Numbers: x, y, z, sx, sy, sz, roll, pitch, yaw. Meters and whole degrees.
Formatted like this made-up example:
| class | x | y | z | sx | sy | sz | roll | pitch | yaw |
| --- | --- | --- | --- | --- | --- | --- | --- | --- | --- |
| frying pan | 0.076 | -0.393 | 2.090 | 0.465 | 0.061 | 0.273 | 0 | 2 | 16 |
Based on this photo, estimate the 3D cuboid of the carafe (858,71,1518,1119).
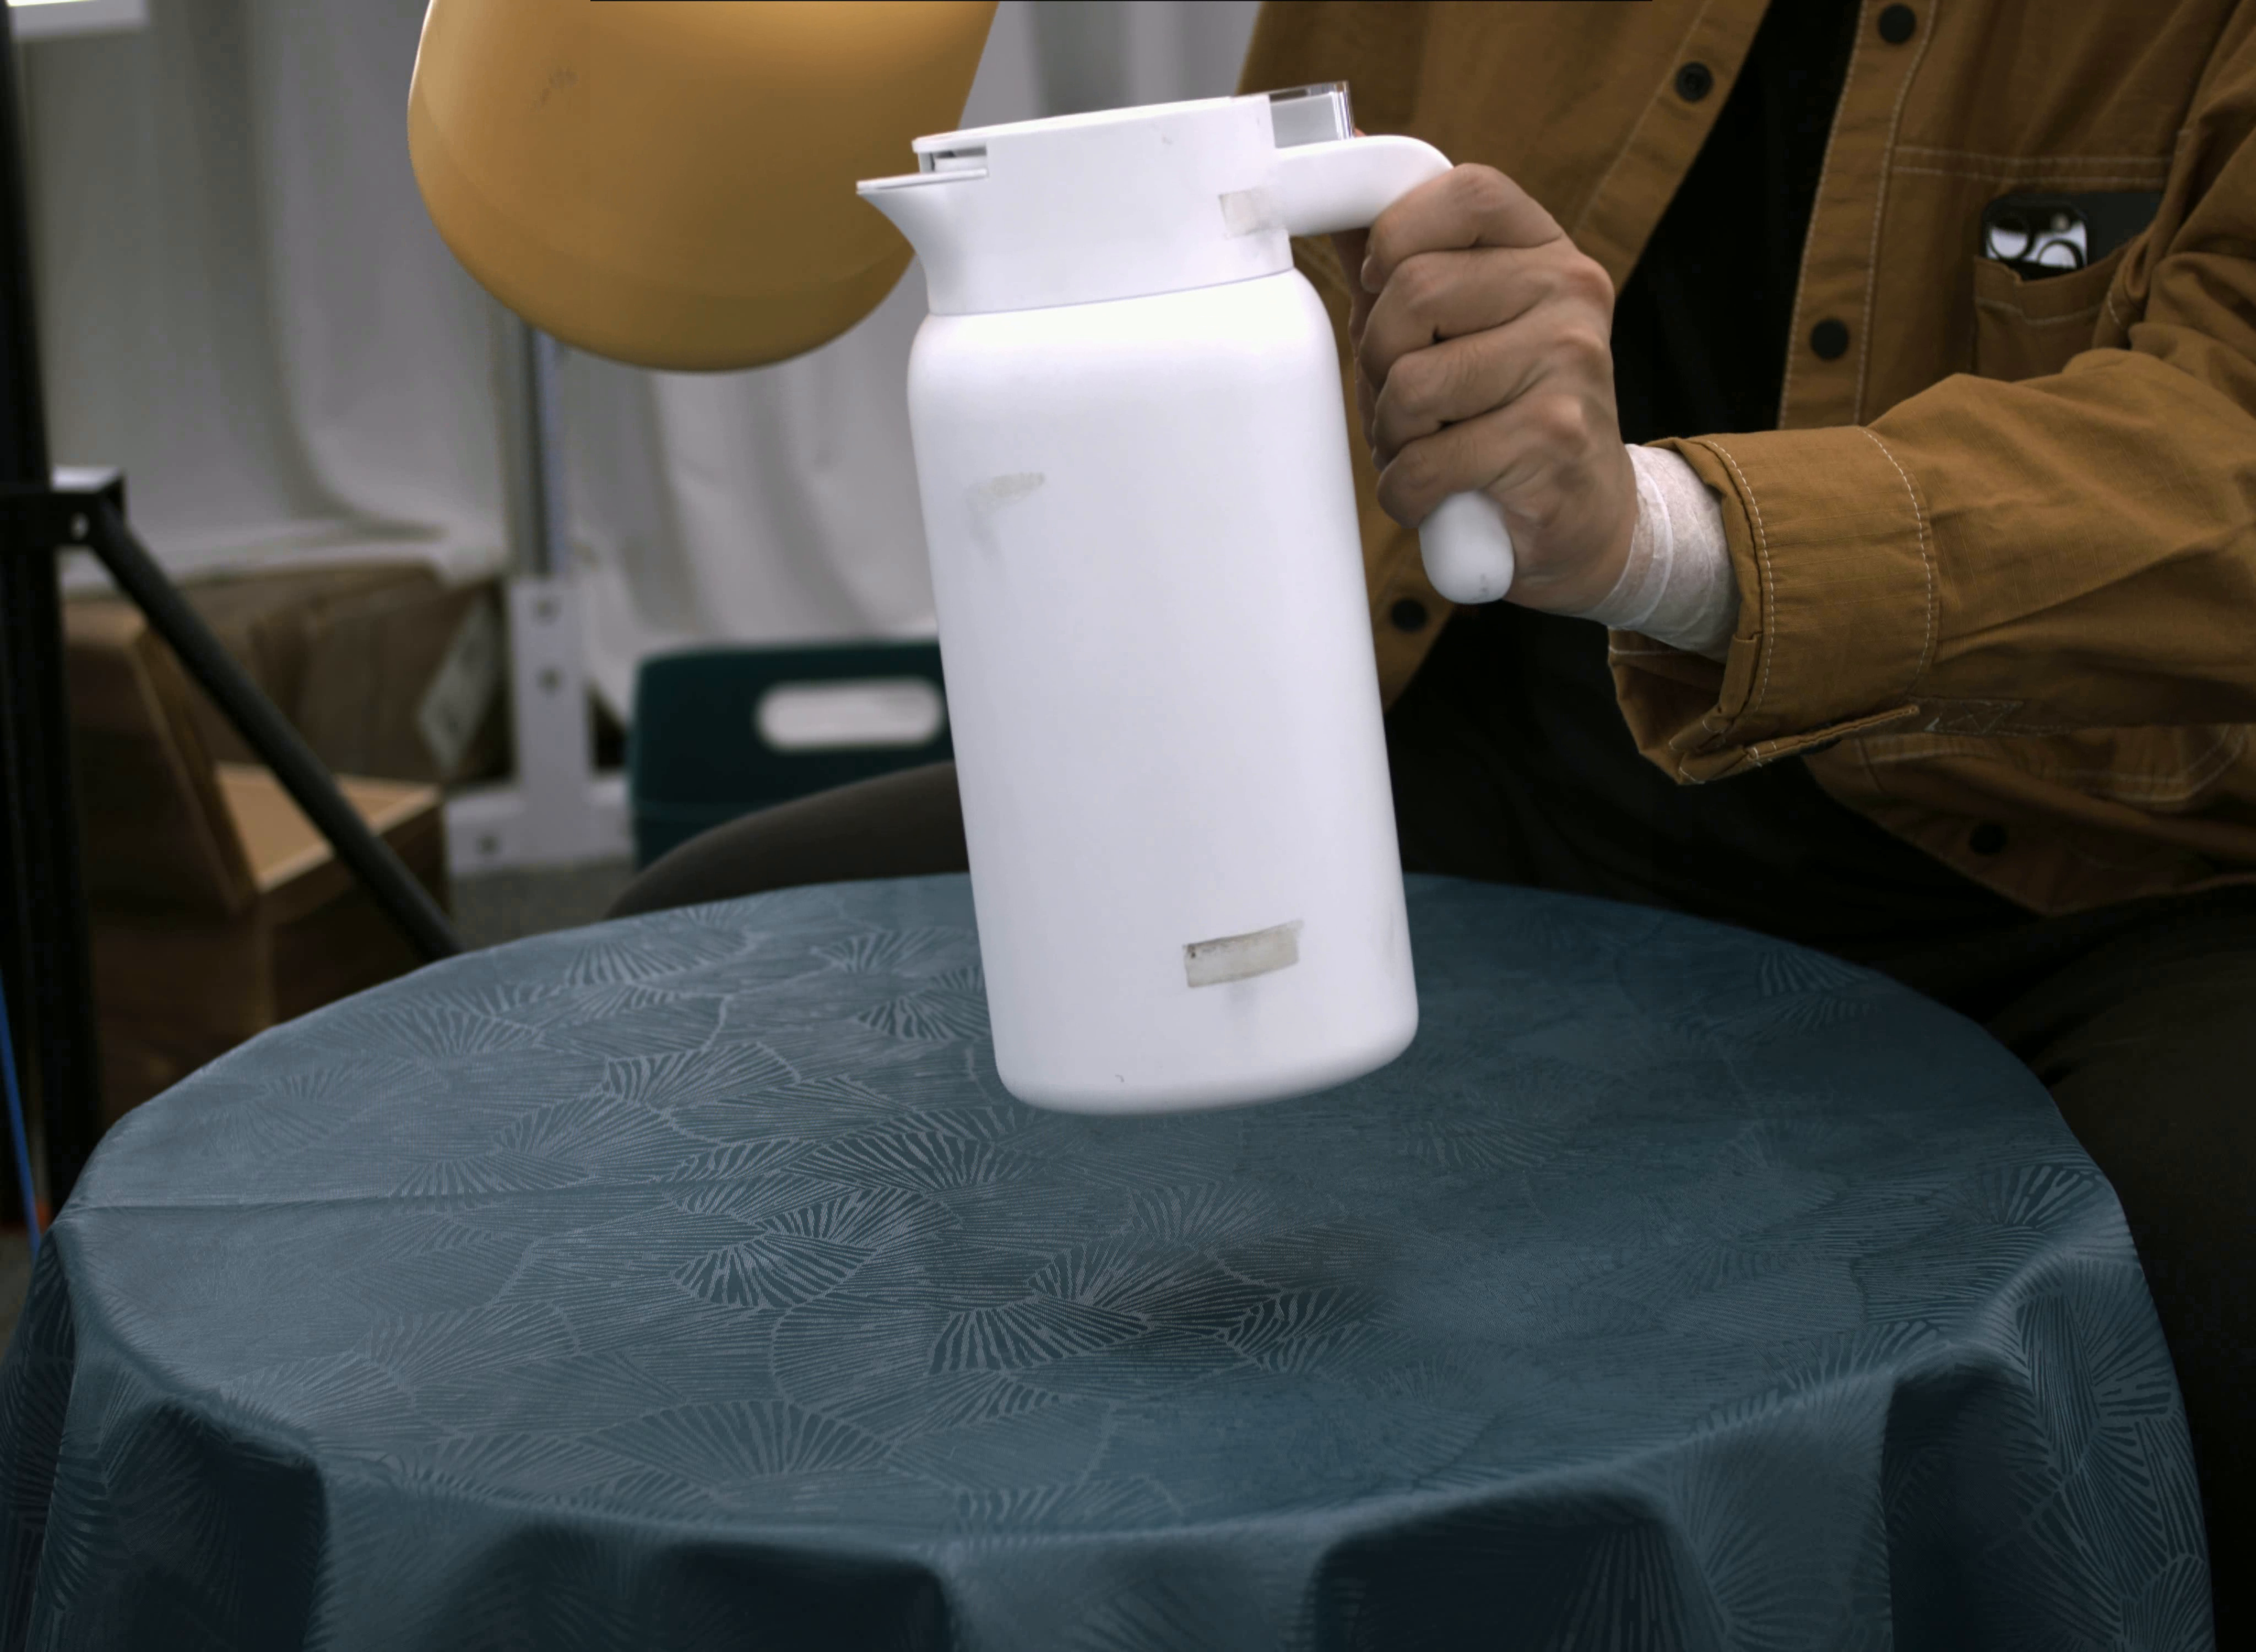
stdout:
| class | x | y | z | sx | sy | sz | roll | pitch | yaw |
| --- | --- | --- | --- | --- | --- | --- | --- | --- | --- |
| carafe | 0.023 | -0.065 | 1.441 | 0.169 | 0.269 | 0.126 | -10 | 6 | -20 |

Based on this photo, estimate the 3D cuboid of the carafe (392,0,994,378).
| class | x | y | z | sx | sy | sz | roll | pitch | yaw |
| --- | --- | --- | --- | --- | --- | --- | --- | --- | --- |
| carafe | -0.125 | -0.279 | 1.572 | 0.160 | 0.261 | 0.206 | -19 | 61 | -34 |
